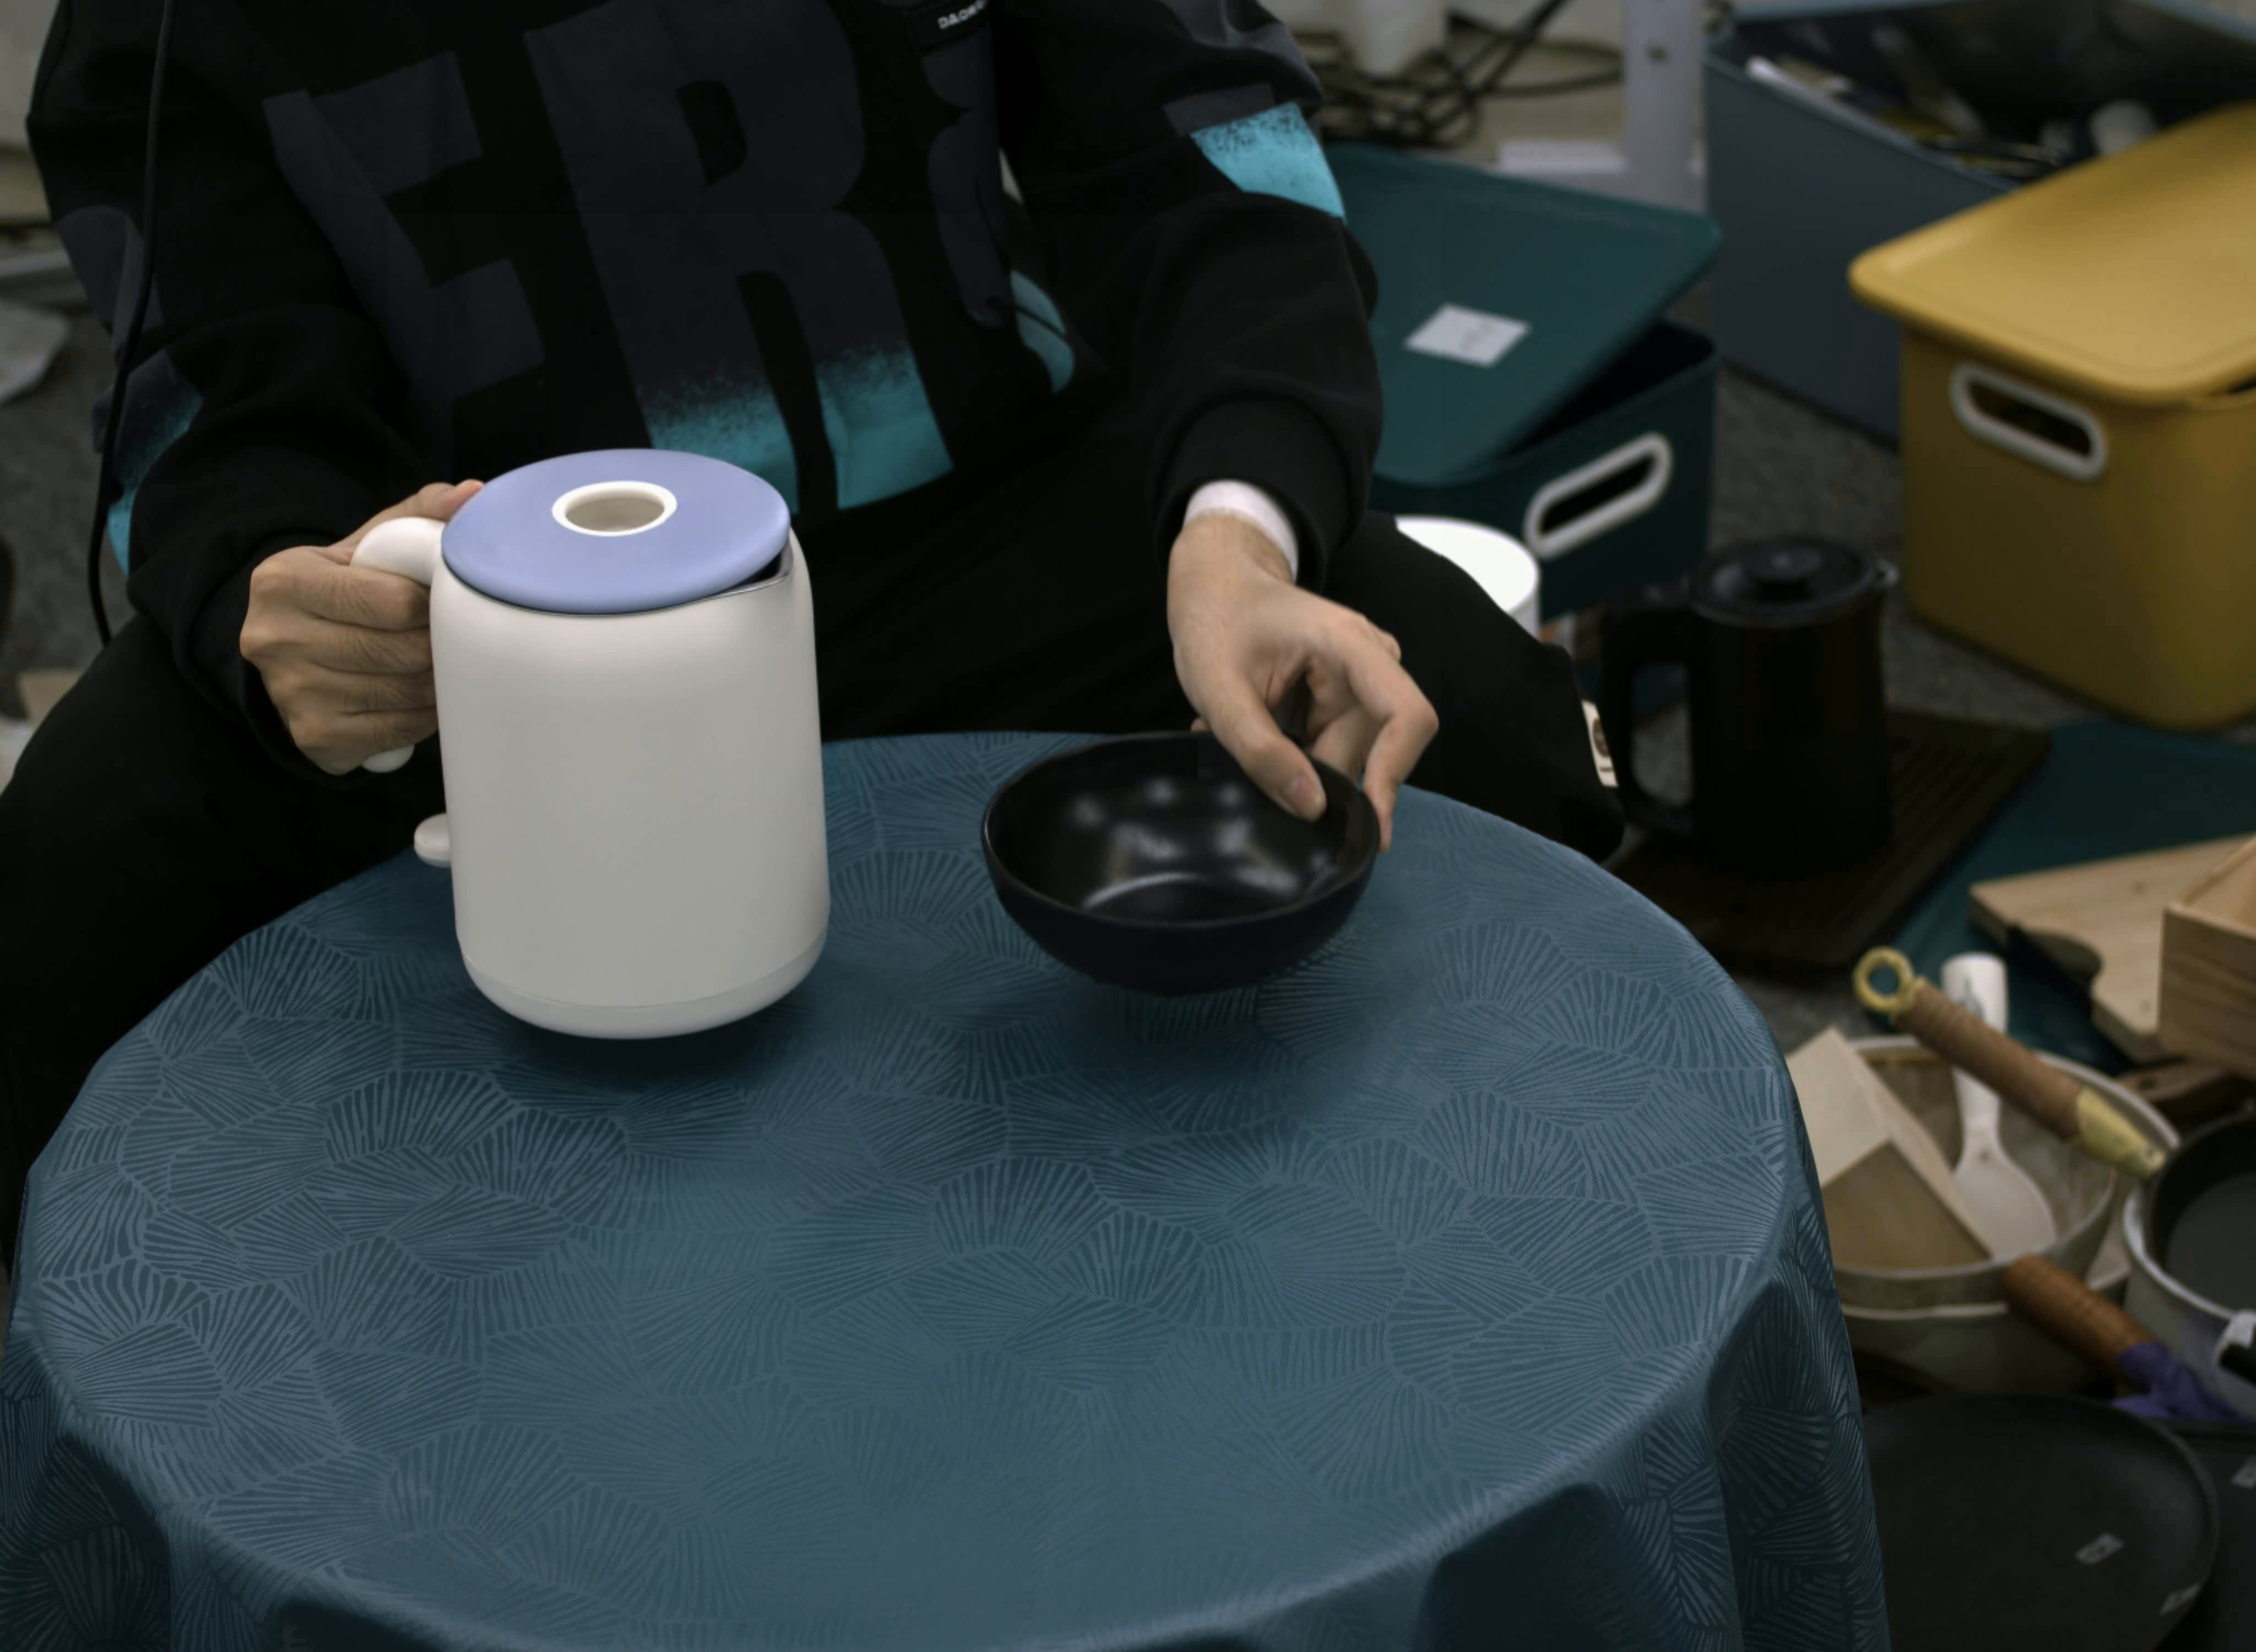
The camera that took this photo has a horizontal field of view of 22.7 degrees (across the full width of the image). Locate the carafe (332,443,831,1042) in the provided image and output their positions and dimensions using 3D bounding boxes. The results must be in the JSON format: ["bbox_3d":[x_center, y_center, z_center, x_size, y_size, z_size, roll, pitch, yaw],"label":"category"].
[{"bbox_3d":[-0.193,-0.033,1.943,0.190,0.181,0.134,10,28,25],"label":"carafe"}]

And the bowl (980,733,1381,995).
[{"bbox_3d":[0.019,0.020,1.946,0.139,0.049,0.142,-1,27,1],"label":"bowl"}]
